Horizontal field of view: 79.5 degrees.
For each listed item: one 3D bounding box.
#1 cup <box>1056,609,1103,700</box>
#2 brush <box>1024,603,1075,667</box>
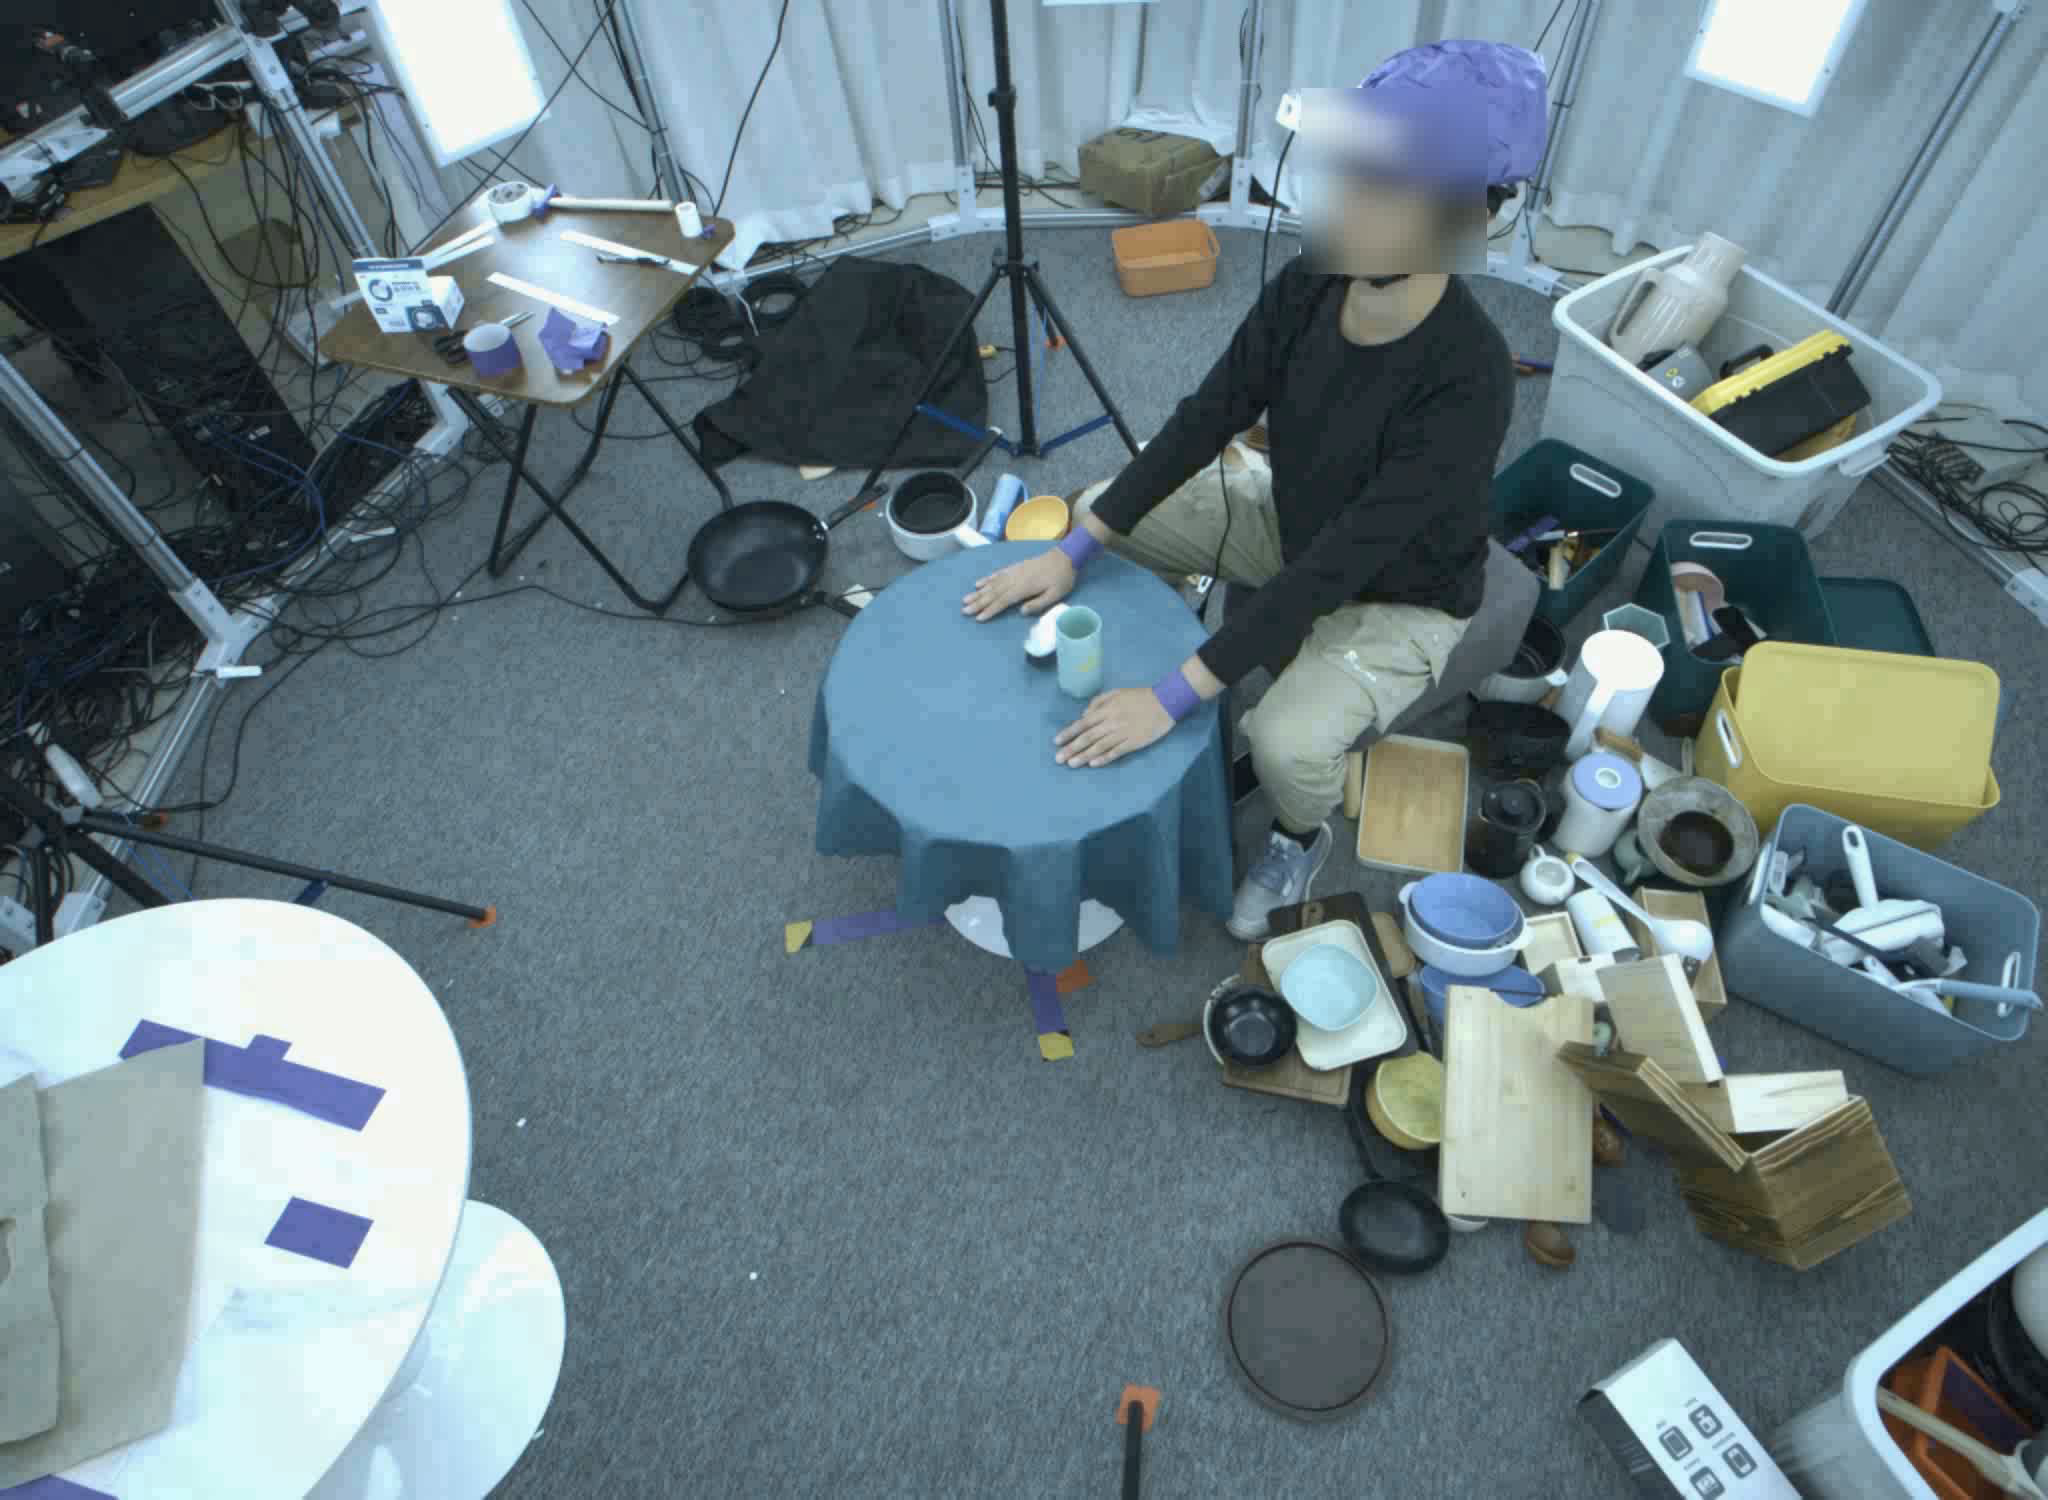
[{"bbox_3d":[0.081,-0.141,1.811,0.066,0.134,0.066,-2,54,4],"label":"cup"},{"bbox_3d":[0.040,-0.183,1.872,0.049,0.073,0.100,37,66,24],"label":"brush"}]
